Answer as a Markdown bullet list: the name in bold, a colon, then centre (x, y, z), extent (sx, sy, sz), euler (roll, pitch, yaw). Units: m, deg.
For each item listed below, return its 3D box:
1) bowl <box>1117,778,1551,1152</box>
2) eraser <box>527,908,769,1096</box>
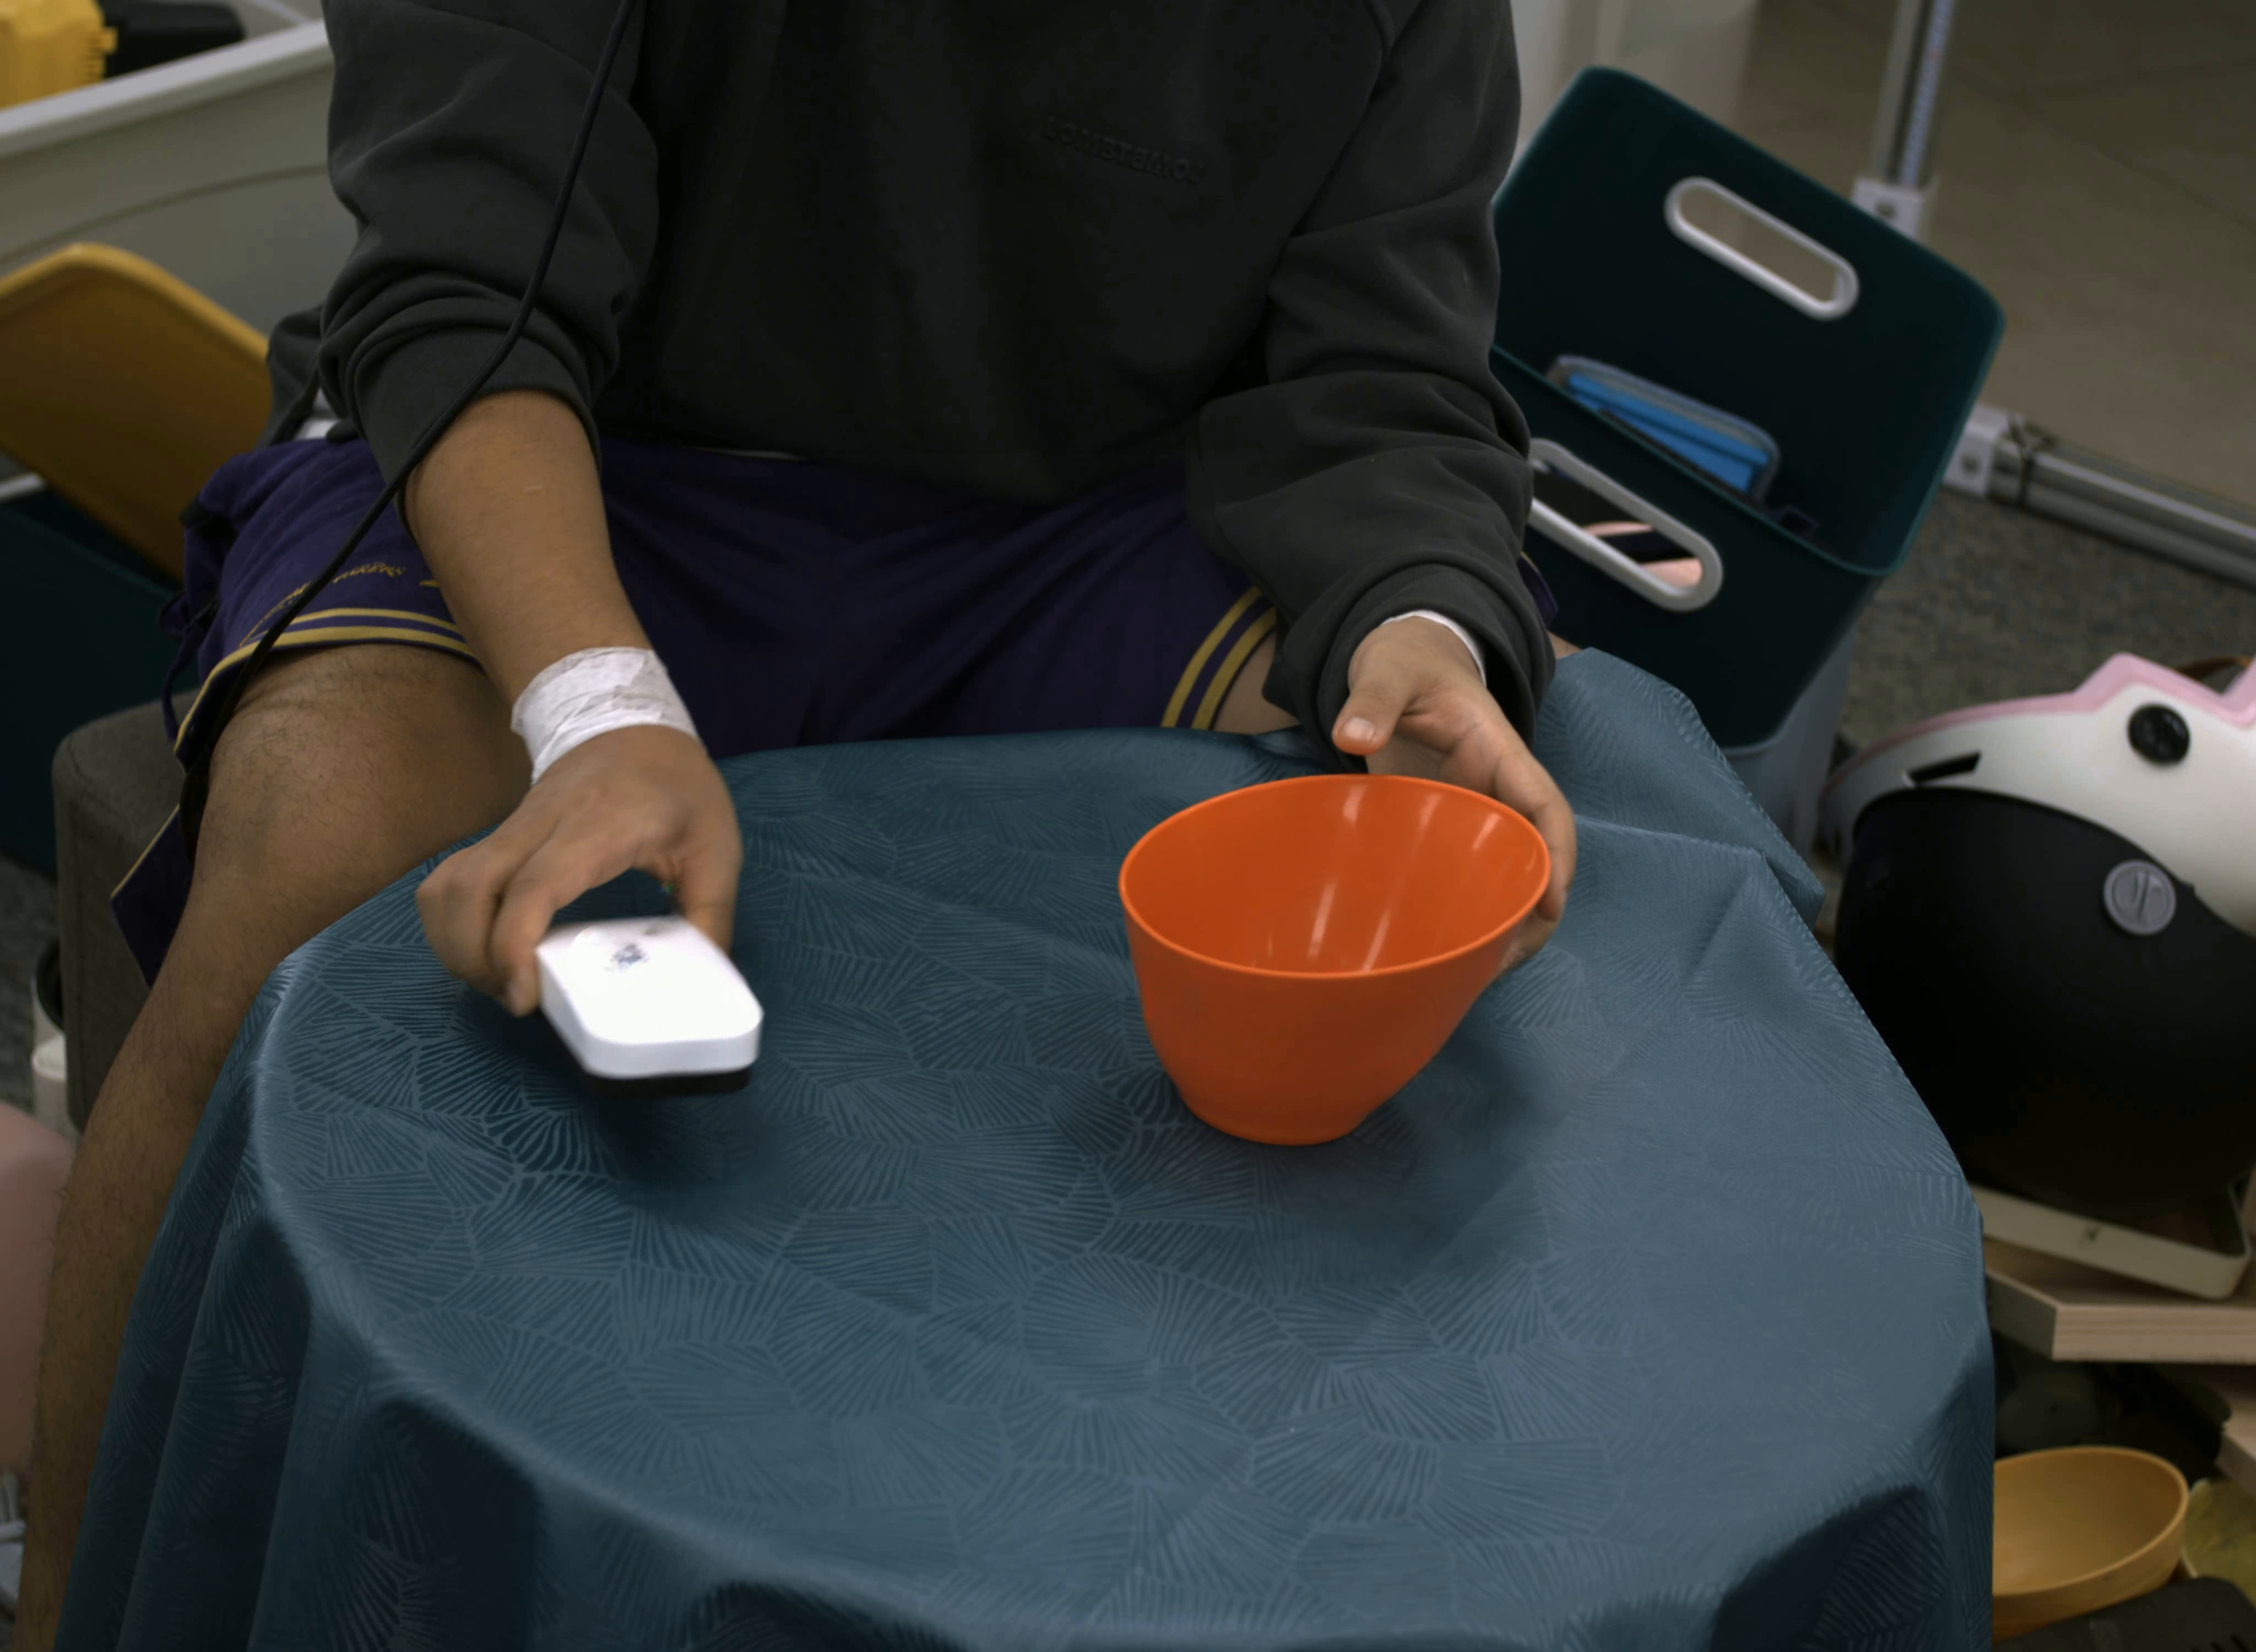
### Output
- **bowl**: centre (0.067, 0.053, 1.845), extent (0.147, 0.104, 0.149), euler (4, 27, -3)
- **eraser**: centre (-0.163, 0.055, 1.803), extent (0.063, 0.034, 0.132), euler (-3, 18, -17)
